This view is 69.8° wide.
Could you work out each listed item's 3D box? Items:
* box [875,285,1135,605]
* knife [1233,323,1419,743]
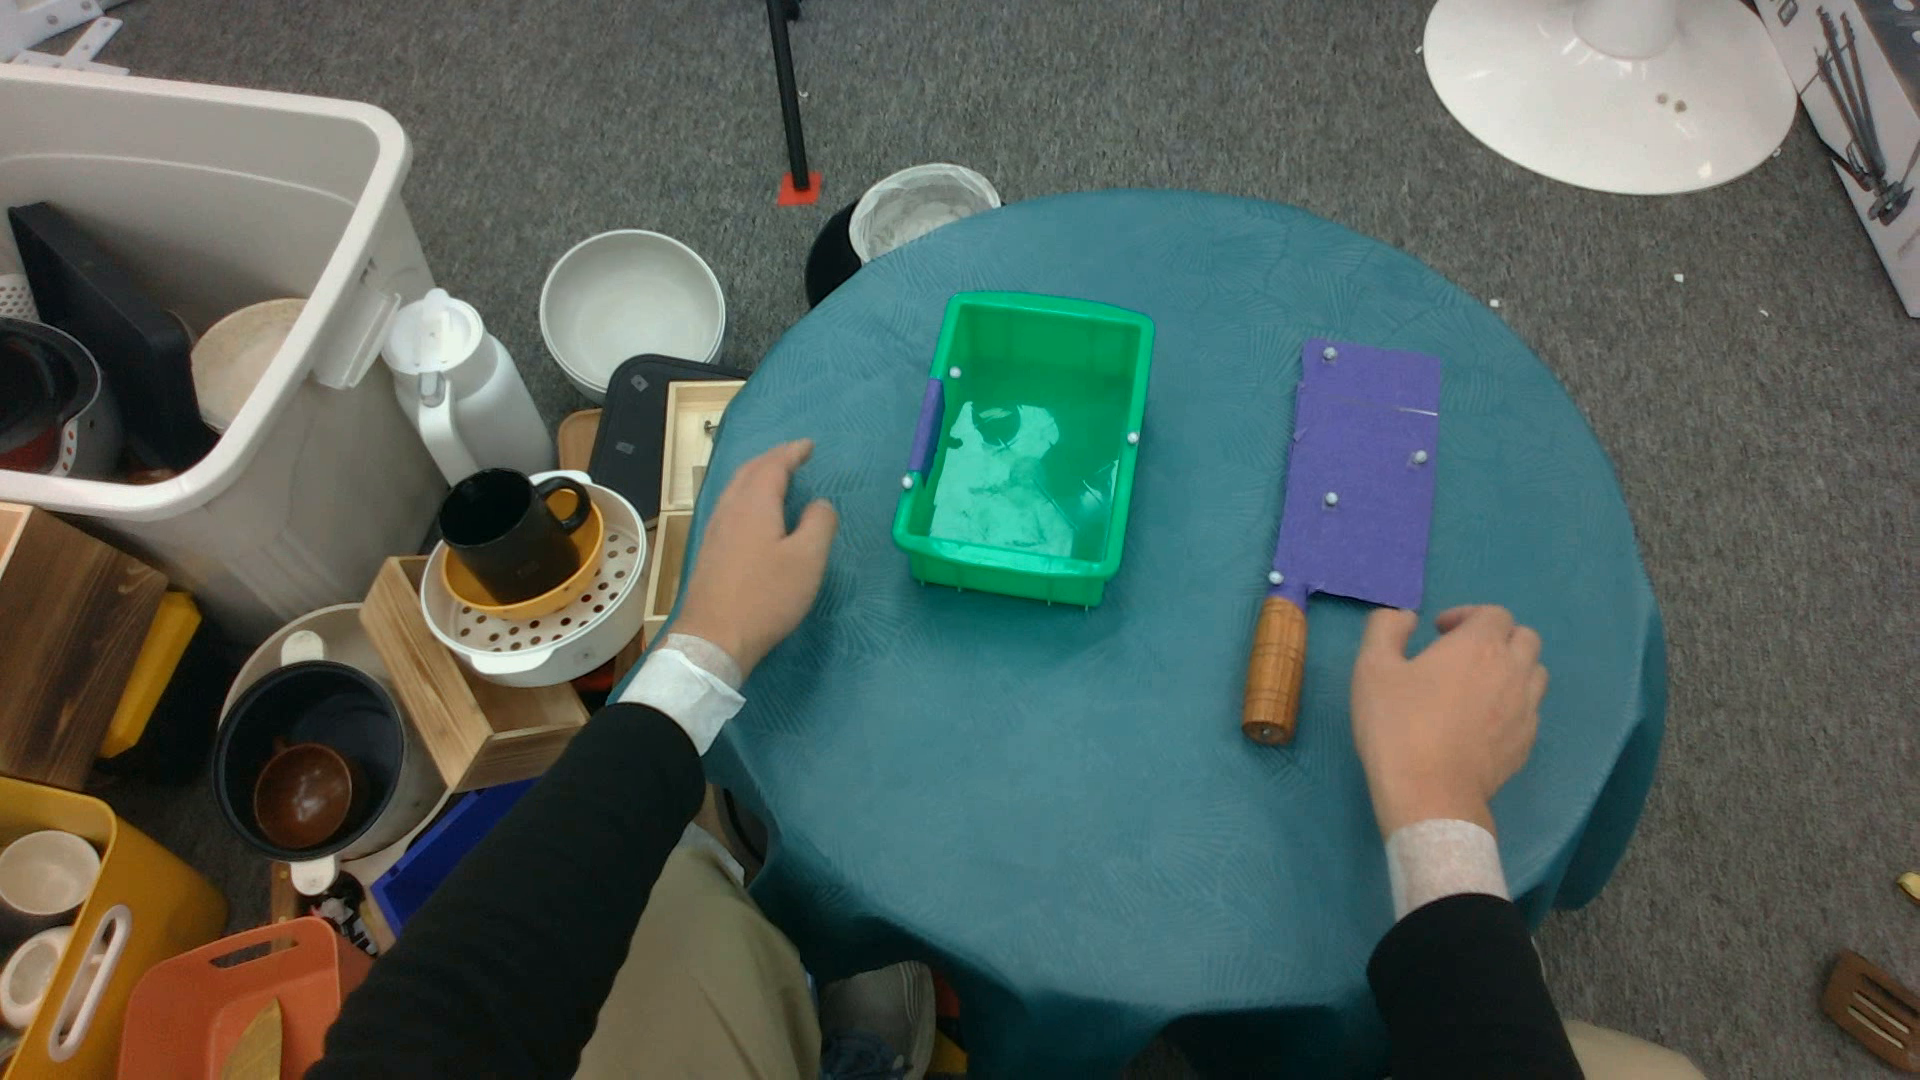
[{"bbox_3d":[0.032,-0.059,0.876,0.138,0.065,0.211,7,61,6],"label":"box"},{"bbox_3d":[0.234,-0.014,0.868,0.104,0.032,0.316,11,59,7],"label":"knife"}]
